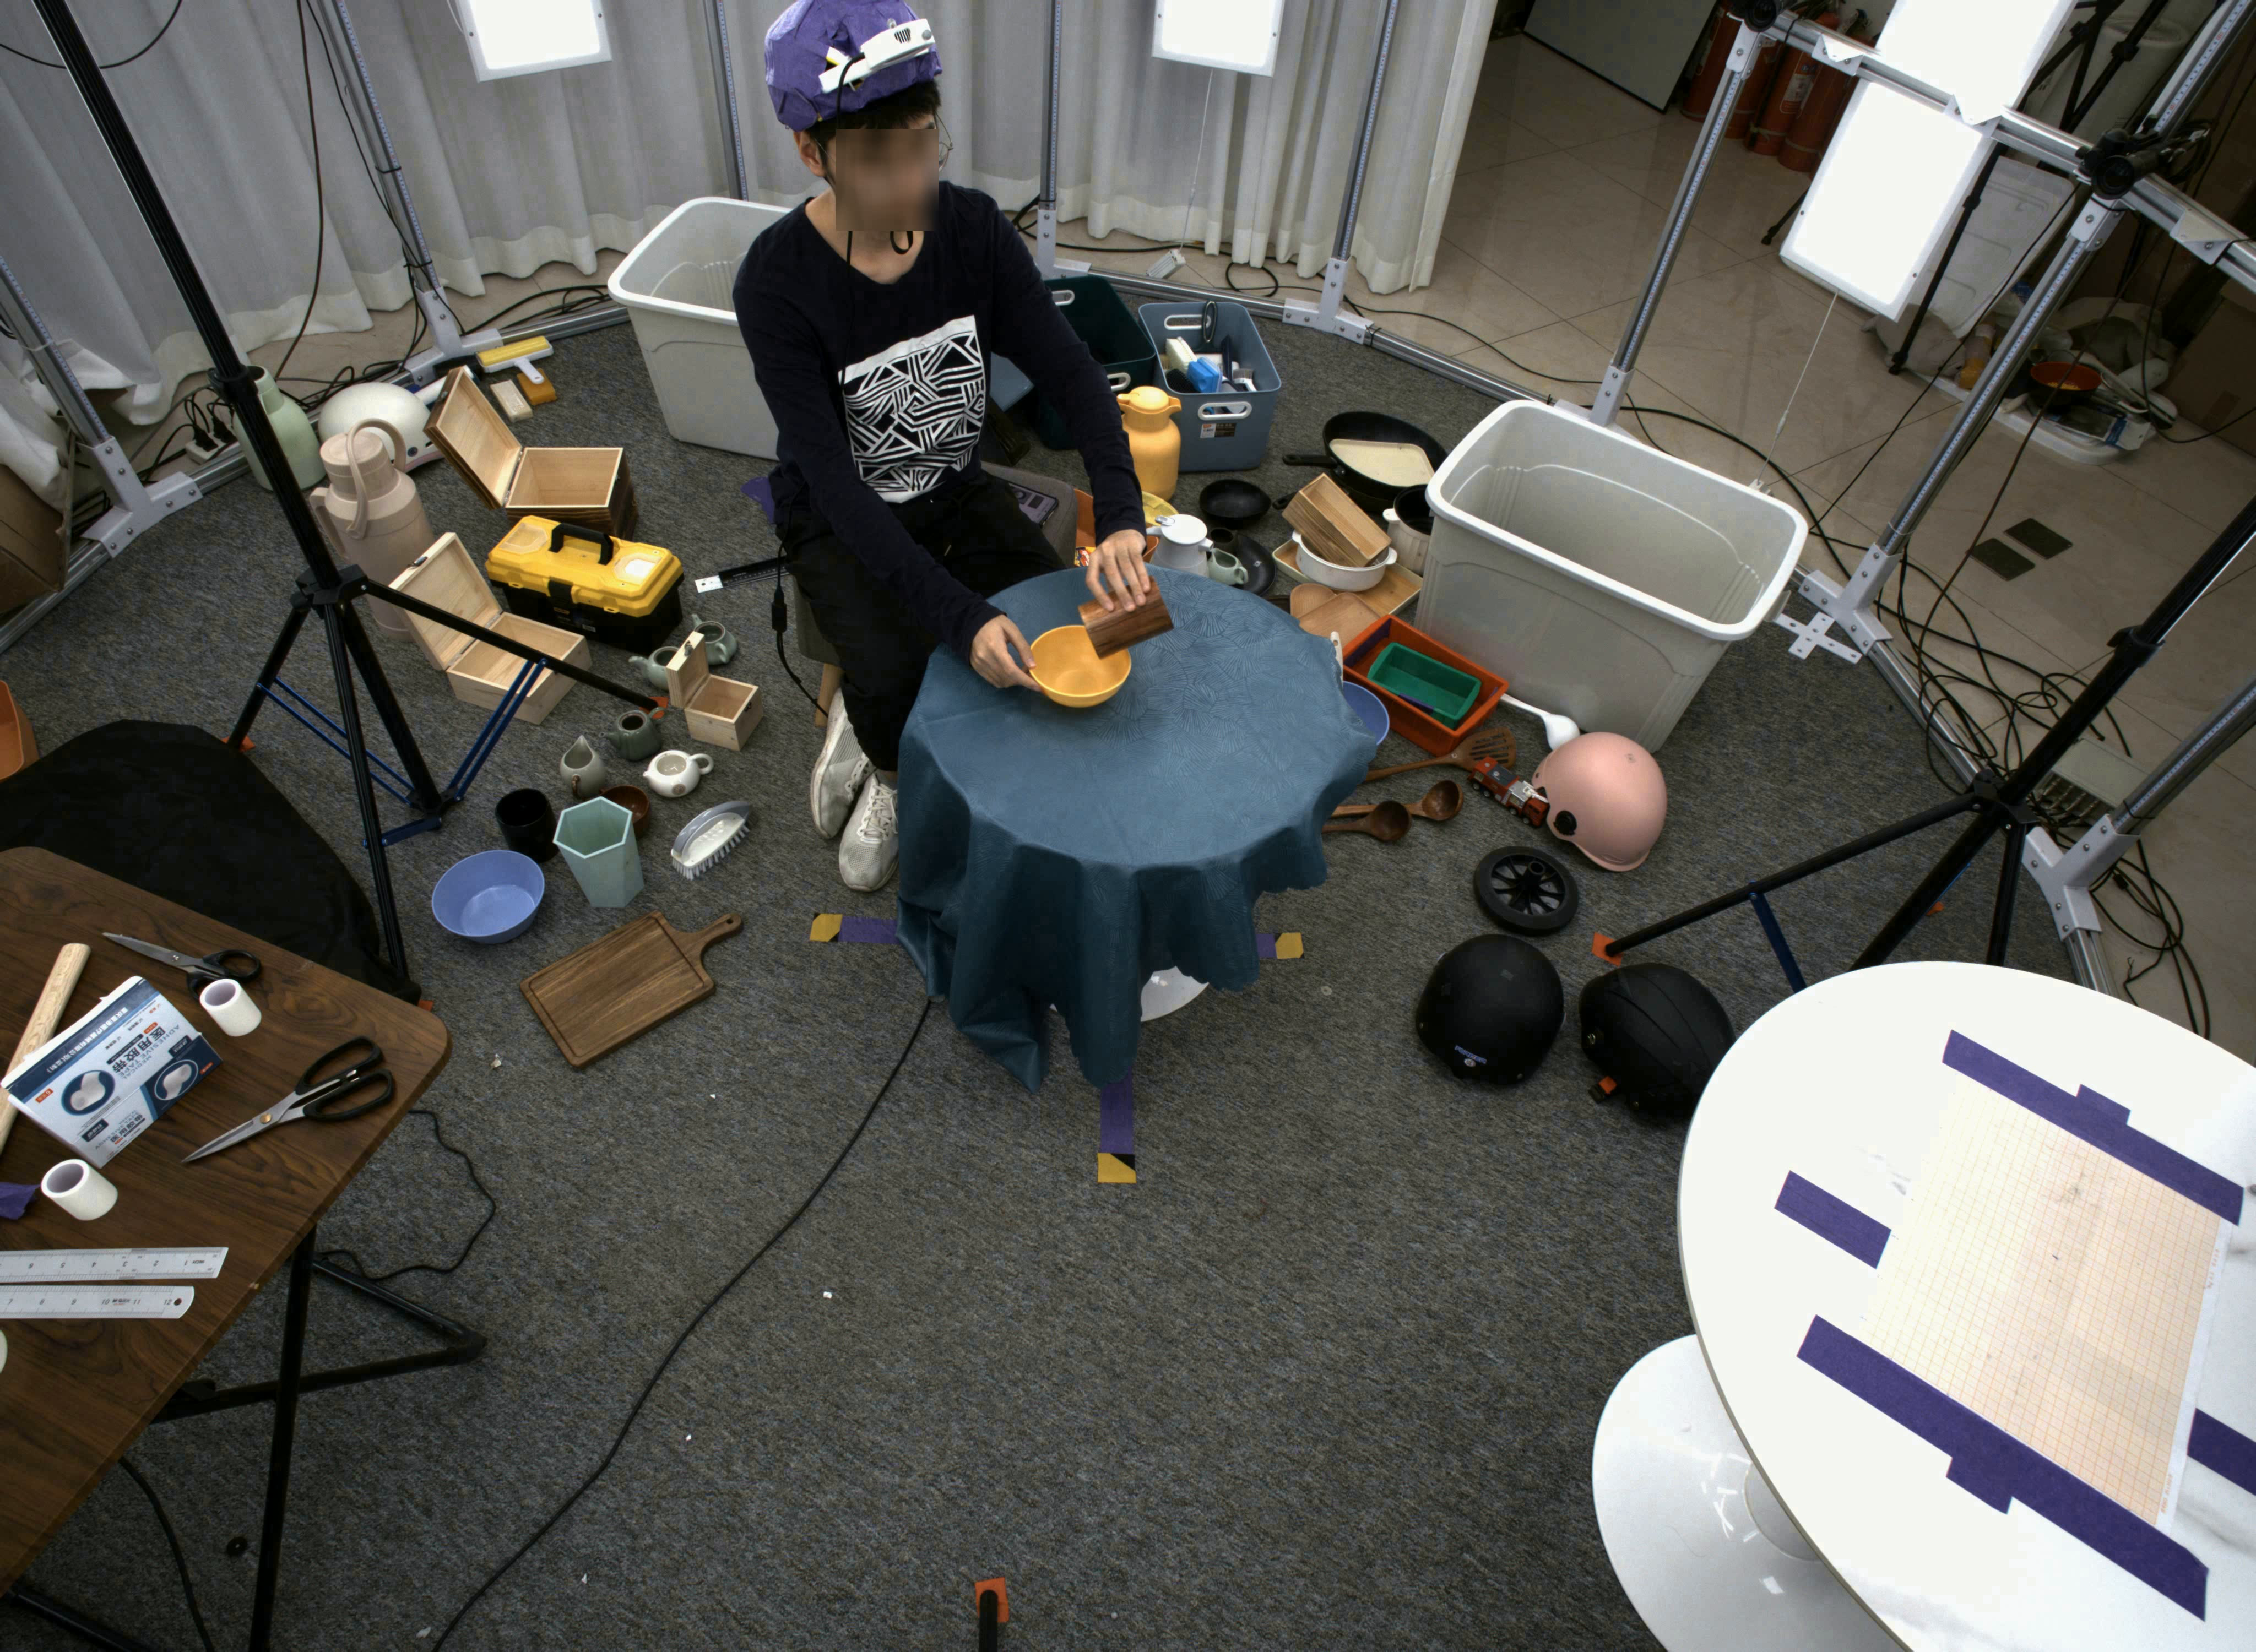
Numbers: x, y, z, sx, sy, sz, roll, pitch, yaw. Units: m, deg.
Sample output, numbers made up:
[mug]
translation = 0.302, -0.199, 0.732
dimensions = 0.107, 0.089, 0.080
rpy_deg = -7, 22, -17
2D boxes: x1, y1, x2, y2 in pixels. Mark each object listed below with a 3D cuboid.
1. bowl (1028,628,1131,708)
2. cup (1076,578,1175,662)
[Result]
[bowl]
translation = -0.070, -0.211, 1.809
dimensions = 0.145, 0.058, 0.149
rpy_deg = 2, 47, -2
[cup]
translation = -0.004, -0.283, 1.767
dimensions = 0.118, 0.085, 0.090
rpy_deg = -19, 51, 1
